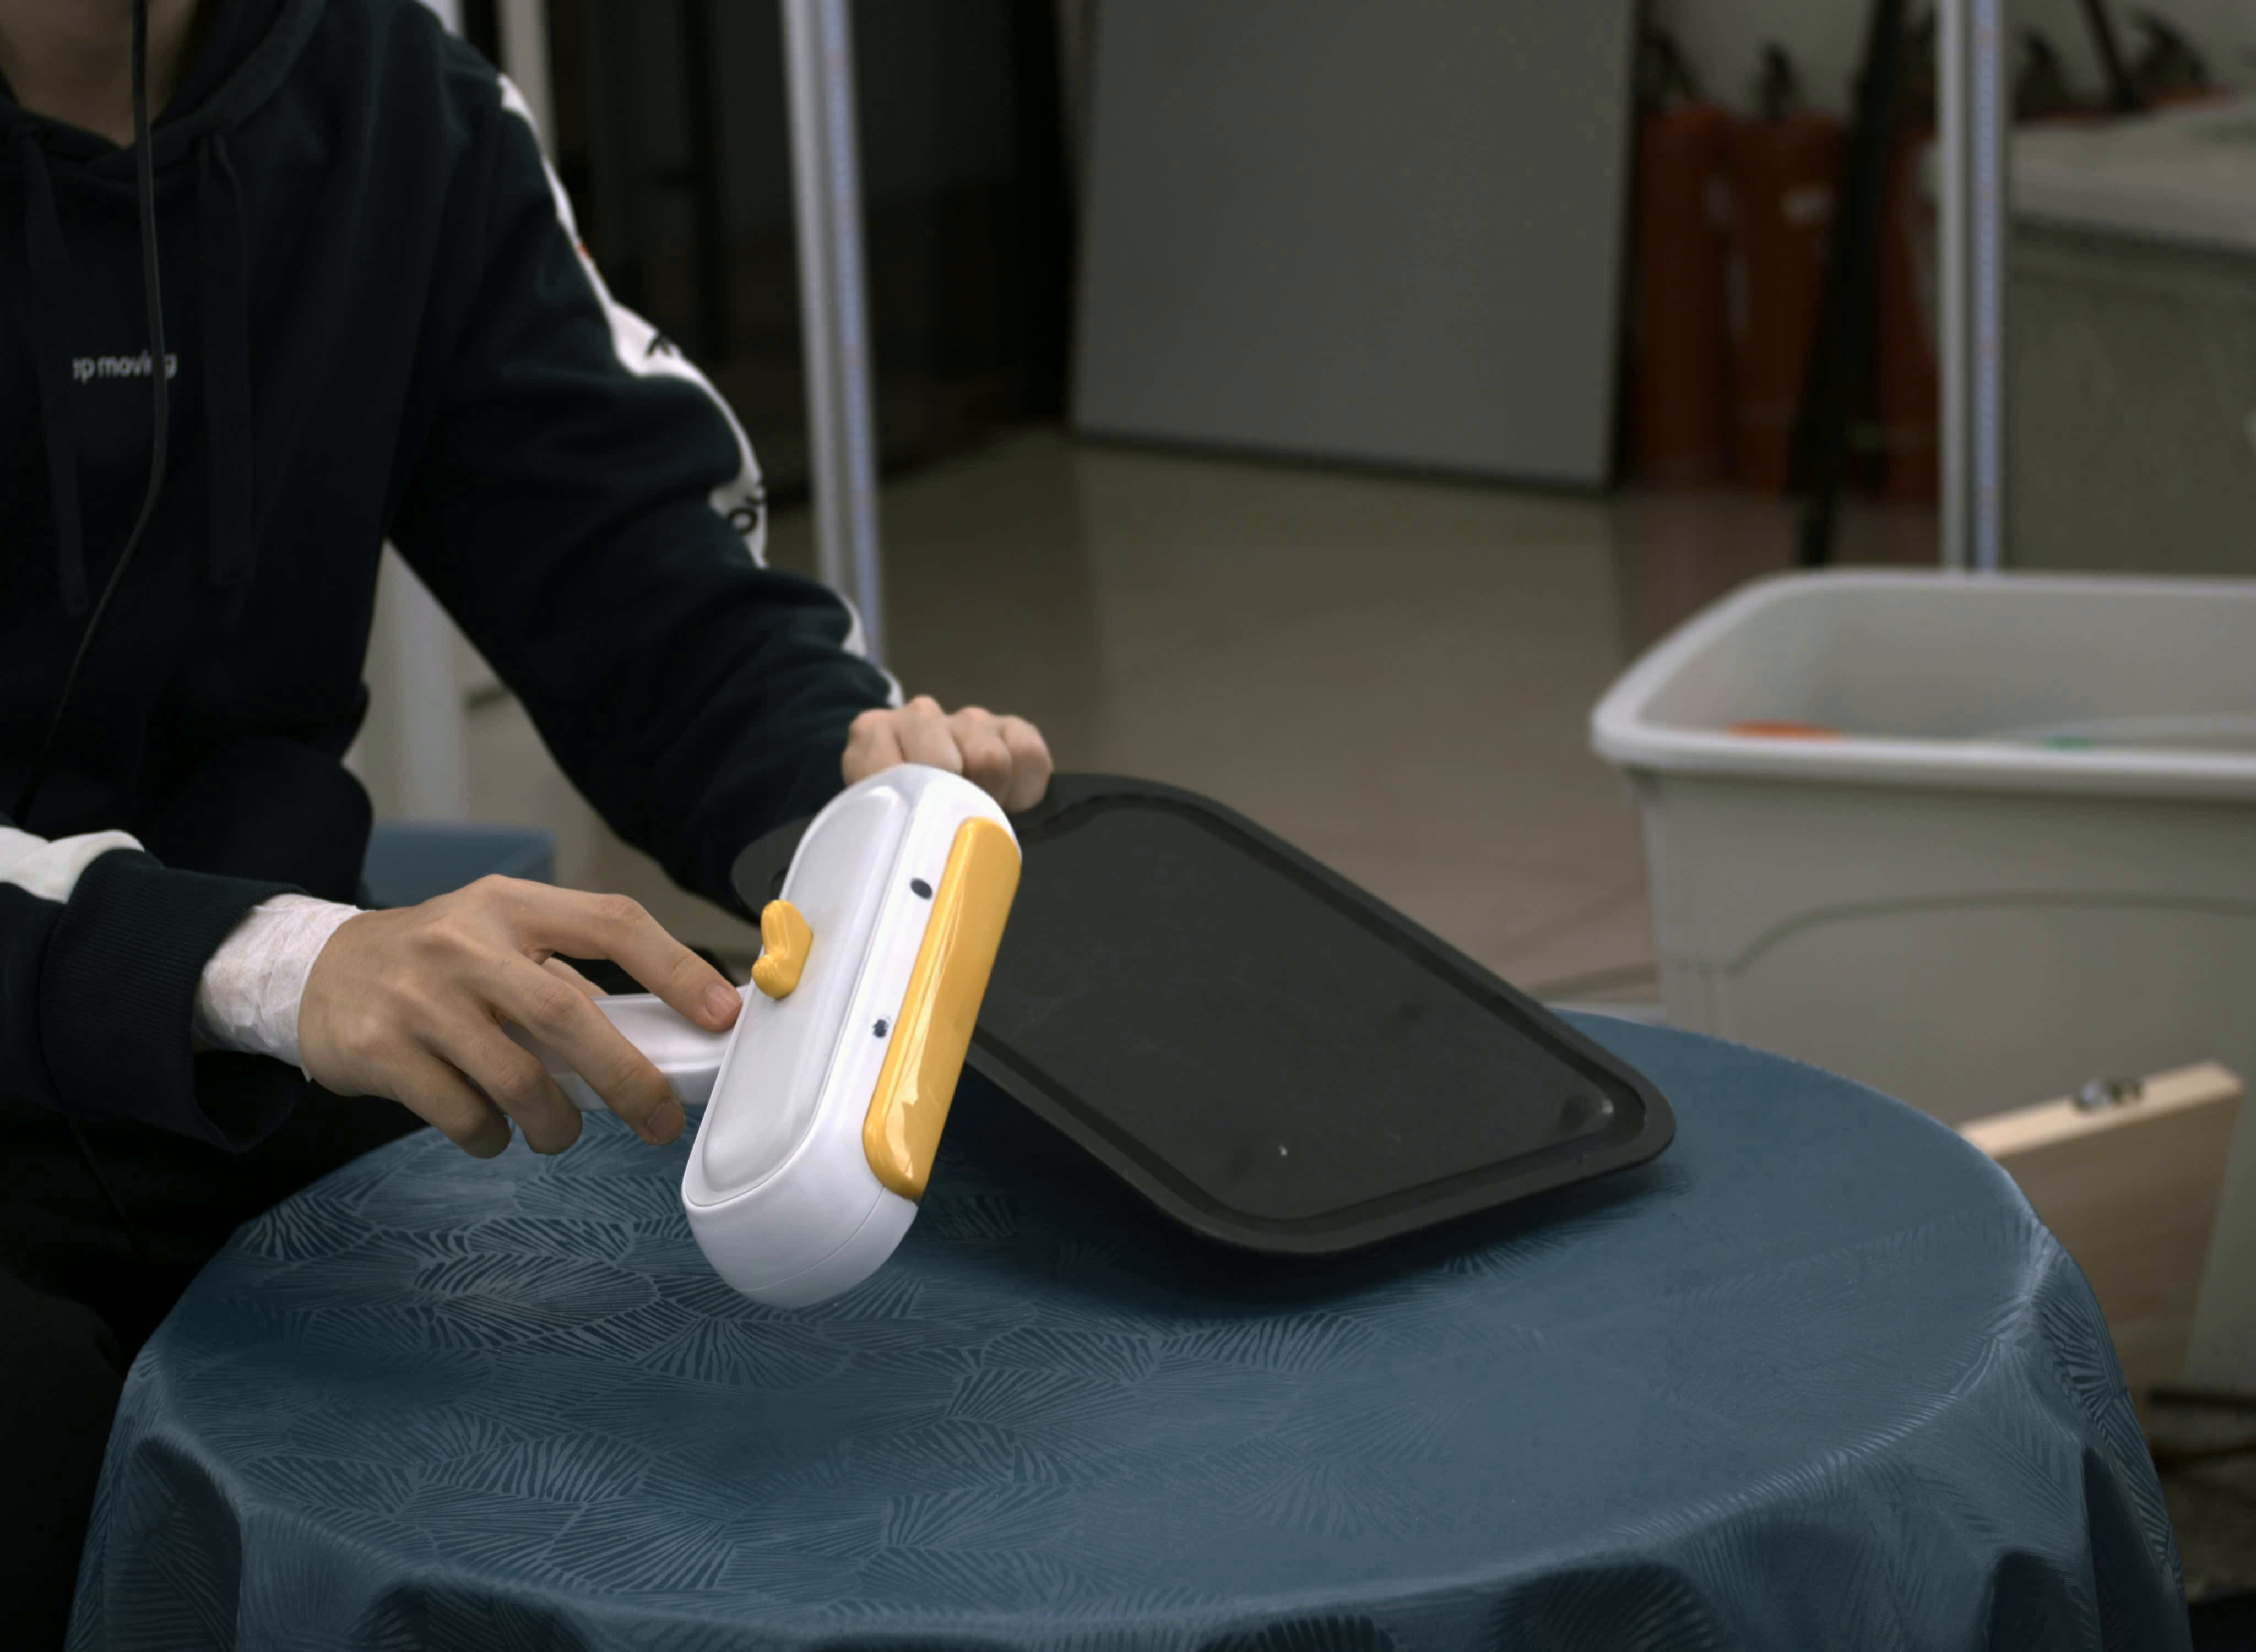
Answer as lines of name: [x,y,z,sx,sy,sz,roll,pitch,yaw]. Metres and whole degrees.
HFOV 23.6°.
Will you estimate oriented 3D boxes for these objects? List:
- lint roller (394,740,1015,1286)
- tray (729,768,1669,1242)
lint roller: [-0.132,0.066,1.639,0.193,0.073,0.194,-19,40,27]
tray: [0.015,0.050,1.795,0.206,0.010,0.329,-12,31,-37]
